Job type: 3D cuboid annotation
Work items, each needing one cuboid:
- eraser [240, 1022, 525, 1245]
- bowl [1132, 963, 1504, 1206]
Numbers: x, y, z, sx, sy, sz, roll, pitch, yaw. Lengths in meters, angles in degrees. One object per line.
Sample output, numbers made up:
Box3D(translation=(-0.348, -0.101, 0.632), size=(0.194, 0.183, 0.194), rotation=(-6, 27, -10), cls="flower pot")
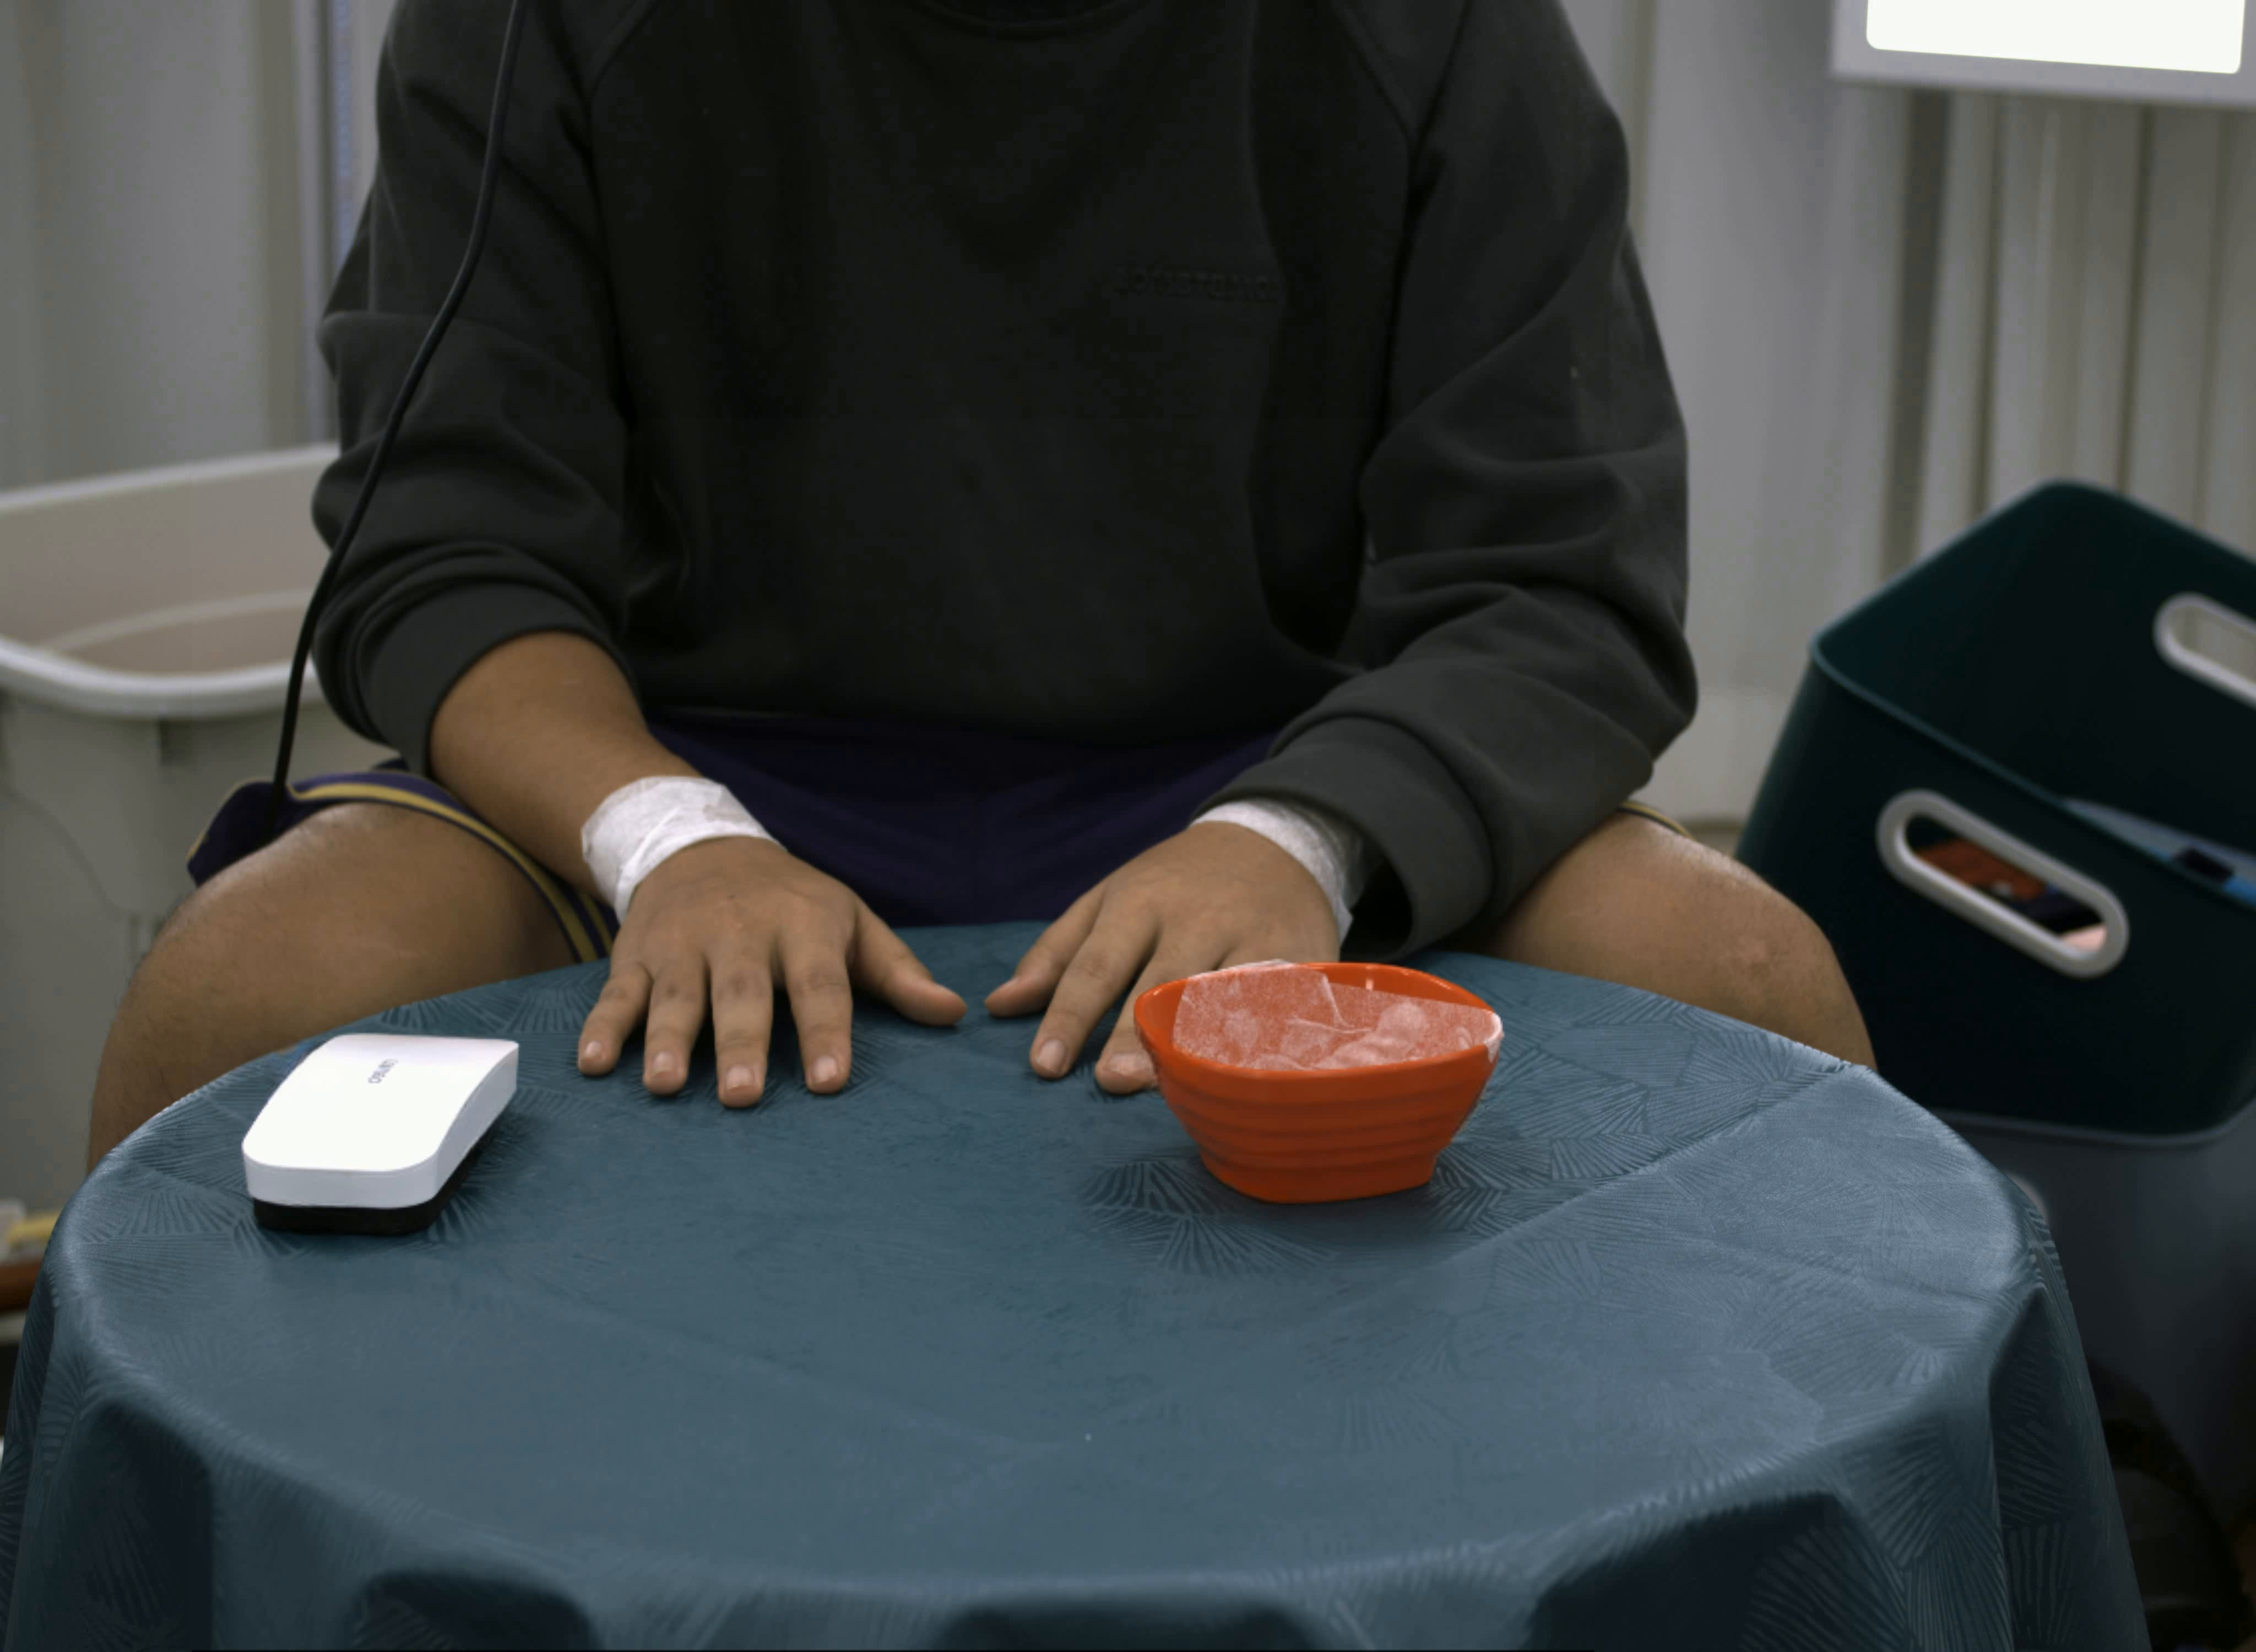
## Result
Box3D(translation=(-0.228, 0.091, 1.631), size=(0.063, 0.035, 0.131), rotation=(5, 18, 8), cls="eraser")
Box3D(translation=(0.059, 0.082, 1.639), size=(0.118, 0.052, 0.118), rotation=(0, 16, 1), cls="bowl")
